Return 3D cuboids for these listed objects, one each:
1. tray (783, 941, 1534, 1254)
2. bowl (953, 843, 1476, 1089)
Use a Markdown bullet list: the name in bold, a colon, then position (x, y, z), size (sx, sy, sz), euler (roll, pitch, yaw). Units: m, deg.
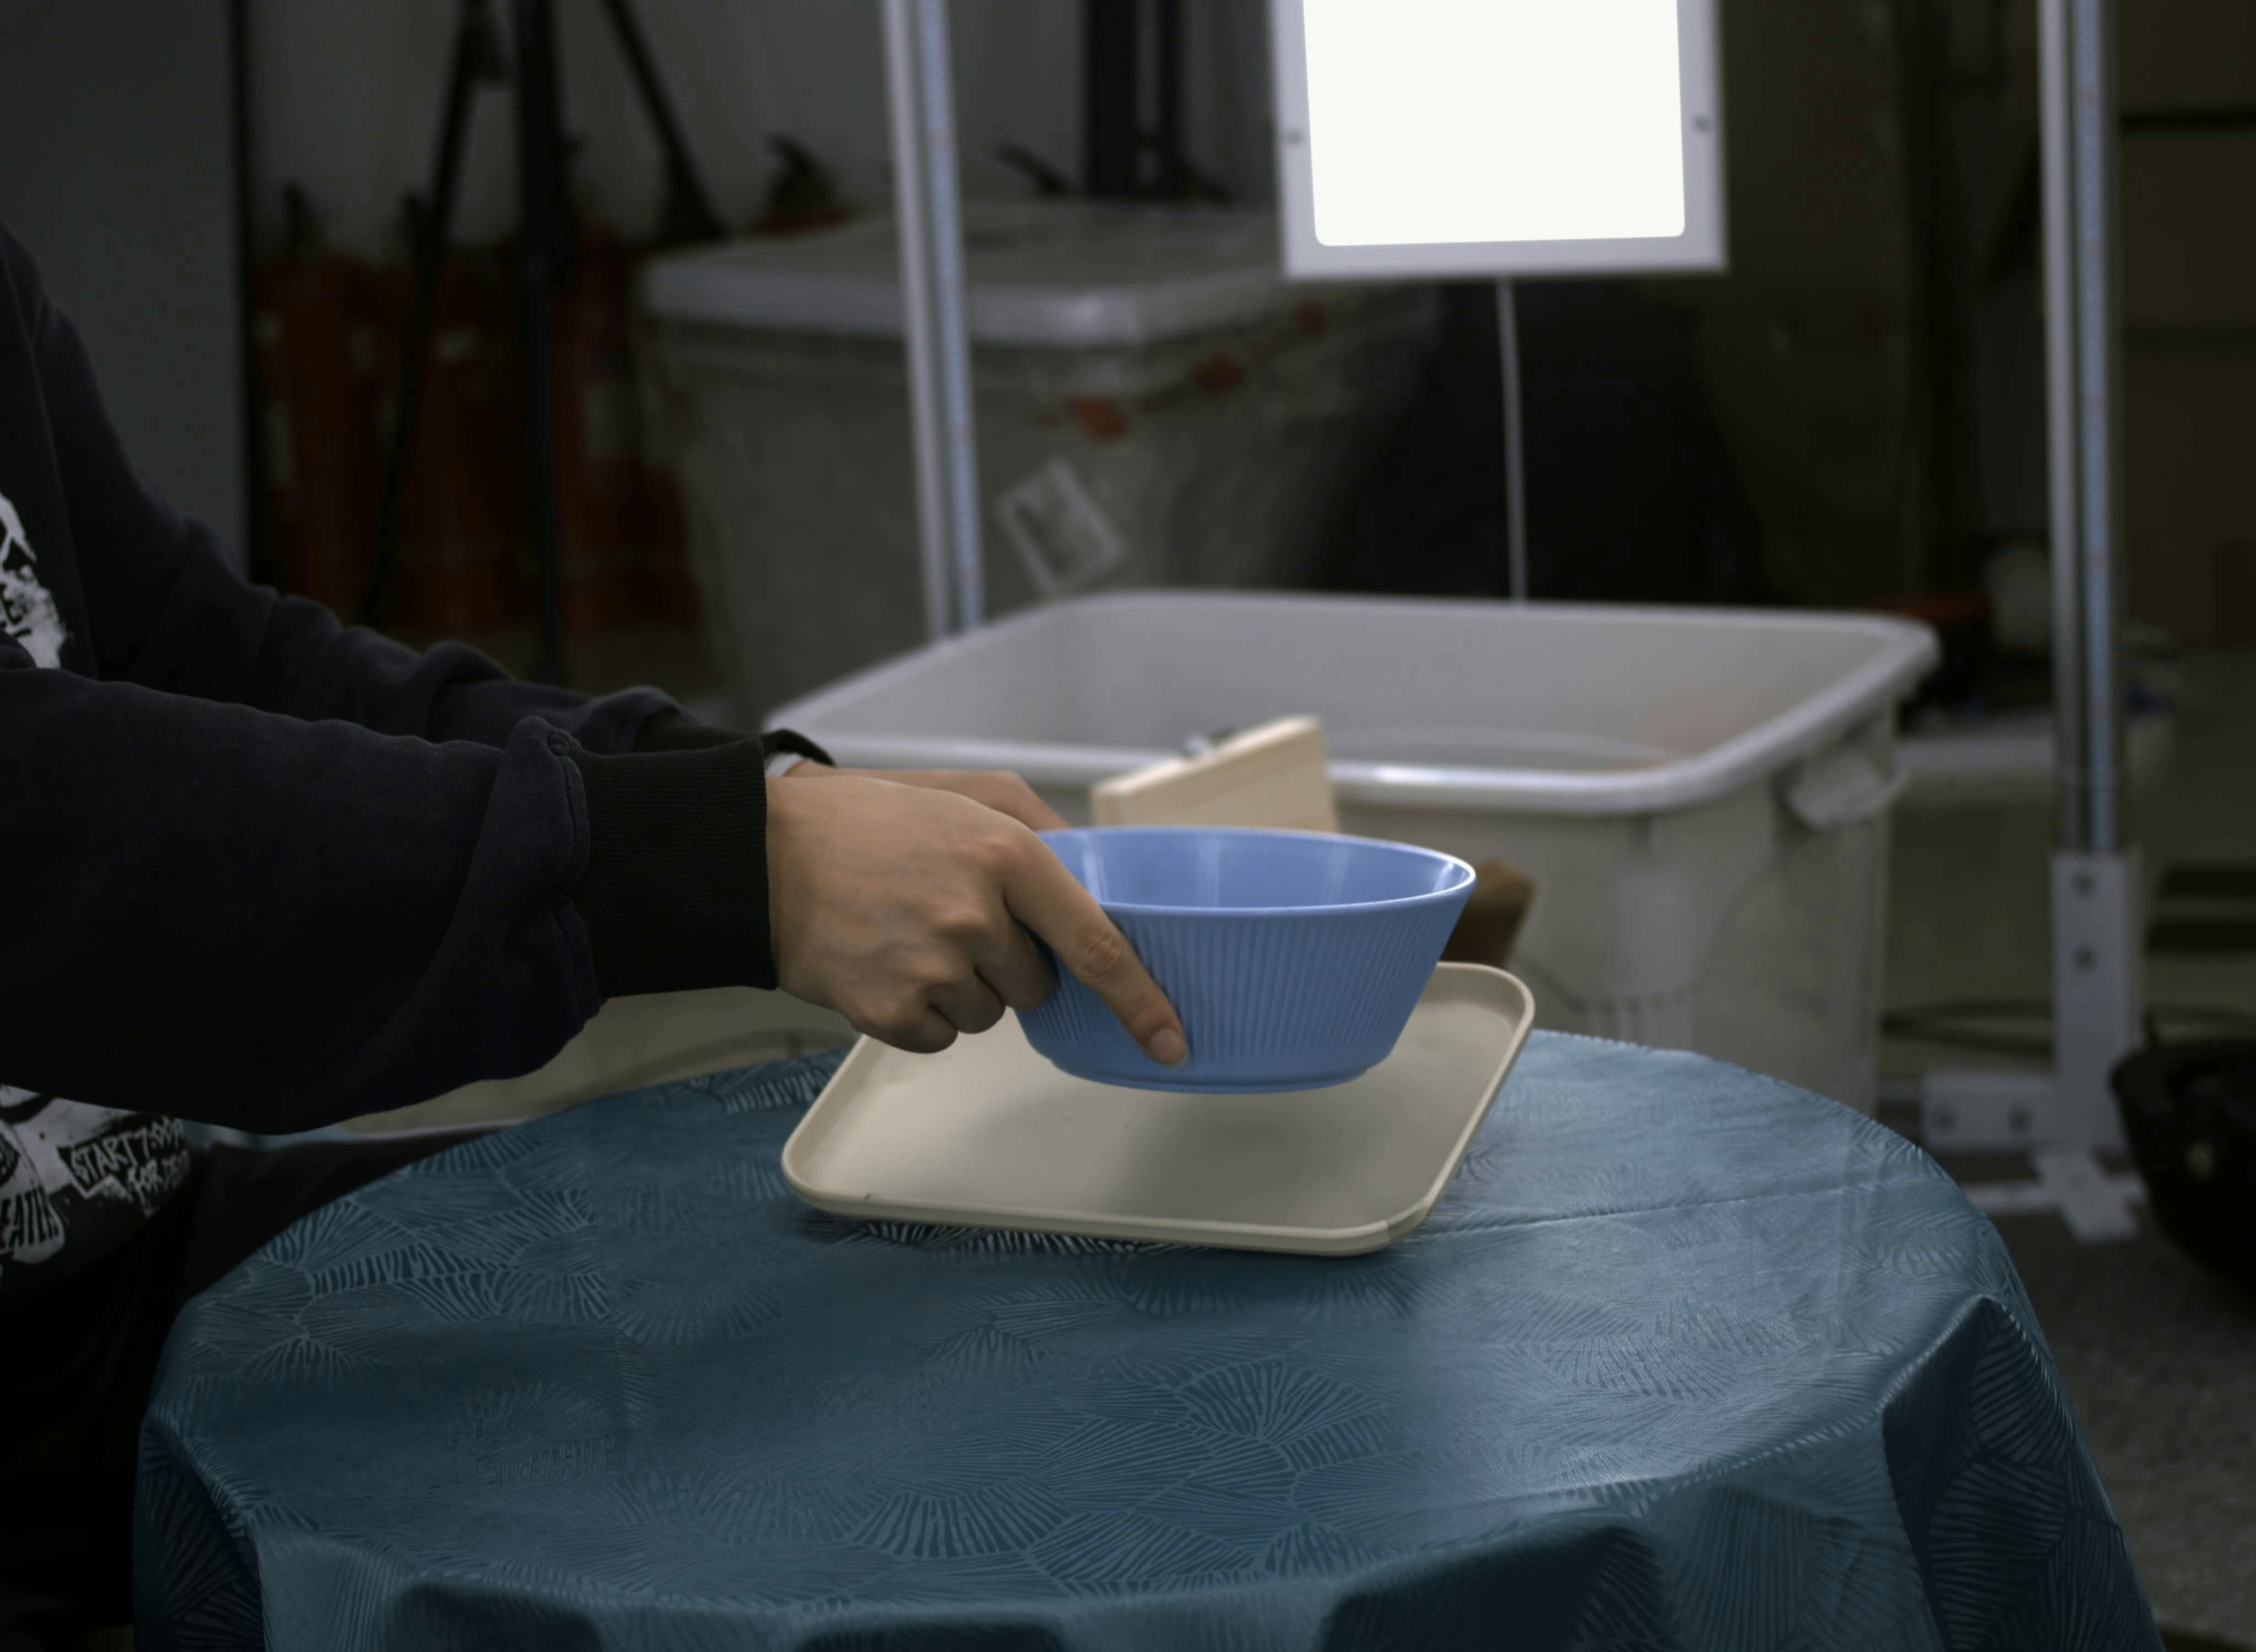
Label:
- **tray**: position (0.012, 0.094, 1.904), size (0.243, 0.017, 0.168), euler (2, 31, 24)
- **bowl**: position (0.028, 0.046, 1.837), size (0.175, 0.070, 0.176), euler (1, 6, -1)
